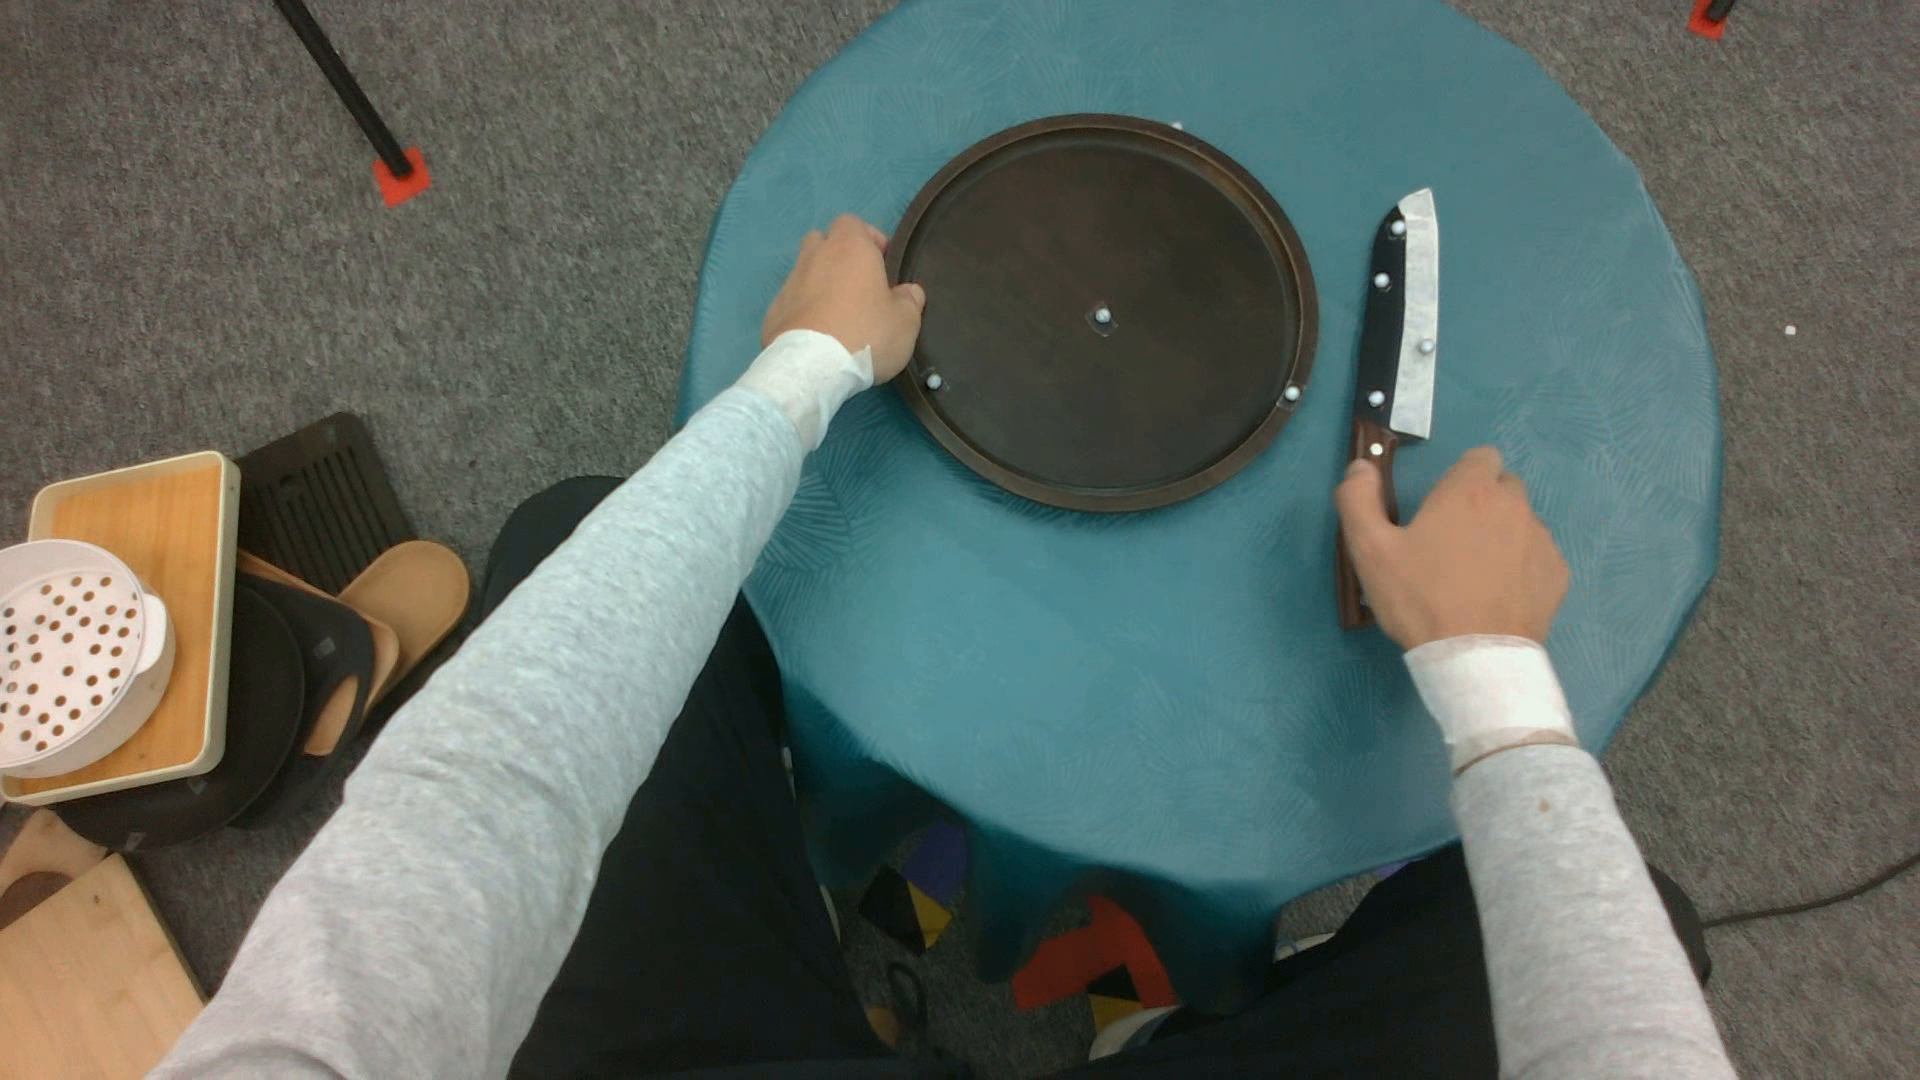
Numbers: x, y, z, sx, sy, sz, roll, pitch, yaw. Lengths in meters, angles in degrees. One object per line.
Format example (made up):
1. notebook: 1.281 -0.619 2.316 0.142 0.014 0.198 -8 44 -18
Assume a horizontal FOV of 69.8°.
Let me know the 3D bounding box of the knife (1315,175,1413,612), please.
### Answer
1. knife: 0.235 -0.092 0.792 0.050 0.020 0.290 15 69 -3

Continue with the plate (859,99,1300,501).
1. plate: 0.069 -0.141 0.794 0.255 0.029 0.255 1 73 -4
